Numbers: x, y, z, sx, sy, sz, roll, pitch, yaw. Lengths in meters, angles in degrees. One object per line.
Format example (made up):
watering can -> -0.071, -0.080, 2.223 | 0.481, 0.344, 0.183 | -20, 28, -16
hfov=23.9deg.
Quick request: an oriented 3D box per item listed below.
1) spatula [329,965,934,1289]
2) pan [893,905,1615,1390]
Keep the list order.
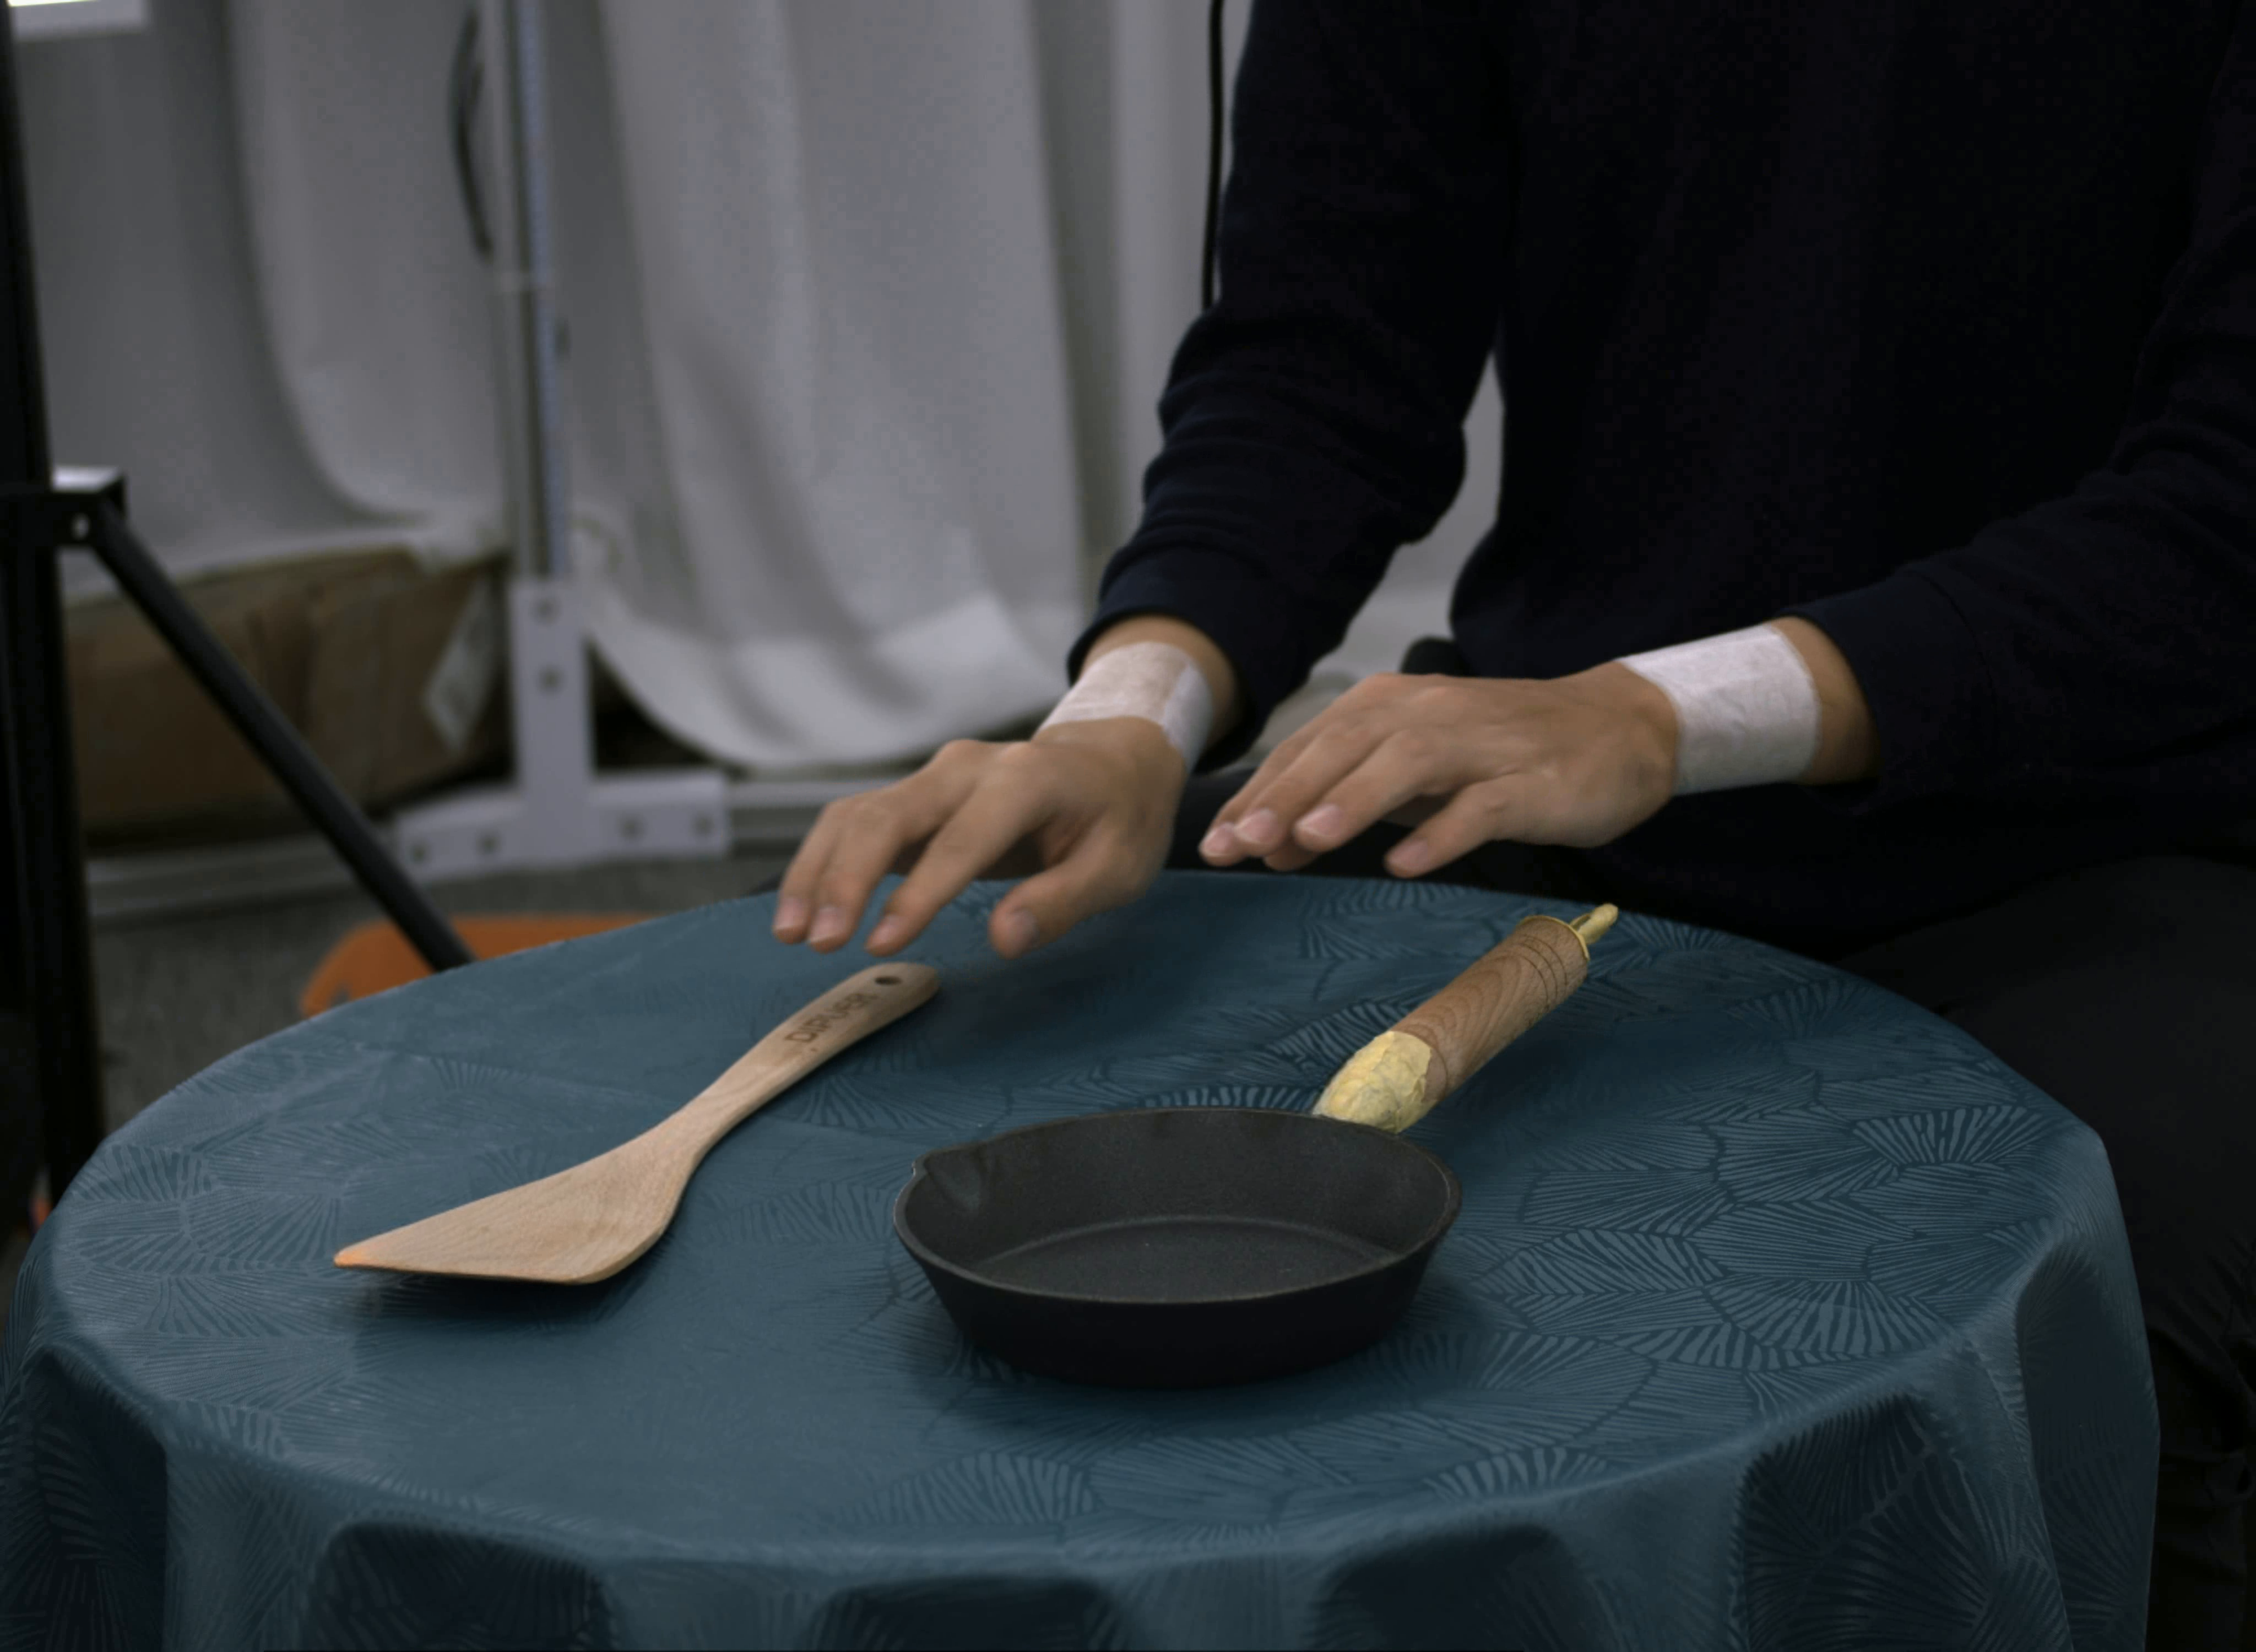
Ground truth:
spatula -> -0.131, 0.088, 1.620 | 0.081, 0.016, 0.323 | 5, 18, 22
pan -> 0.061, 0.088, 1.524 | 0.172, 0.049, 0.318 | 8, 21, 34
